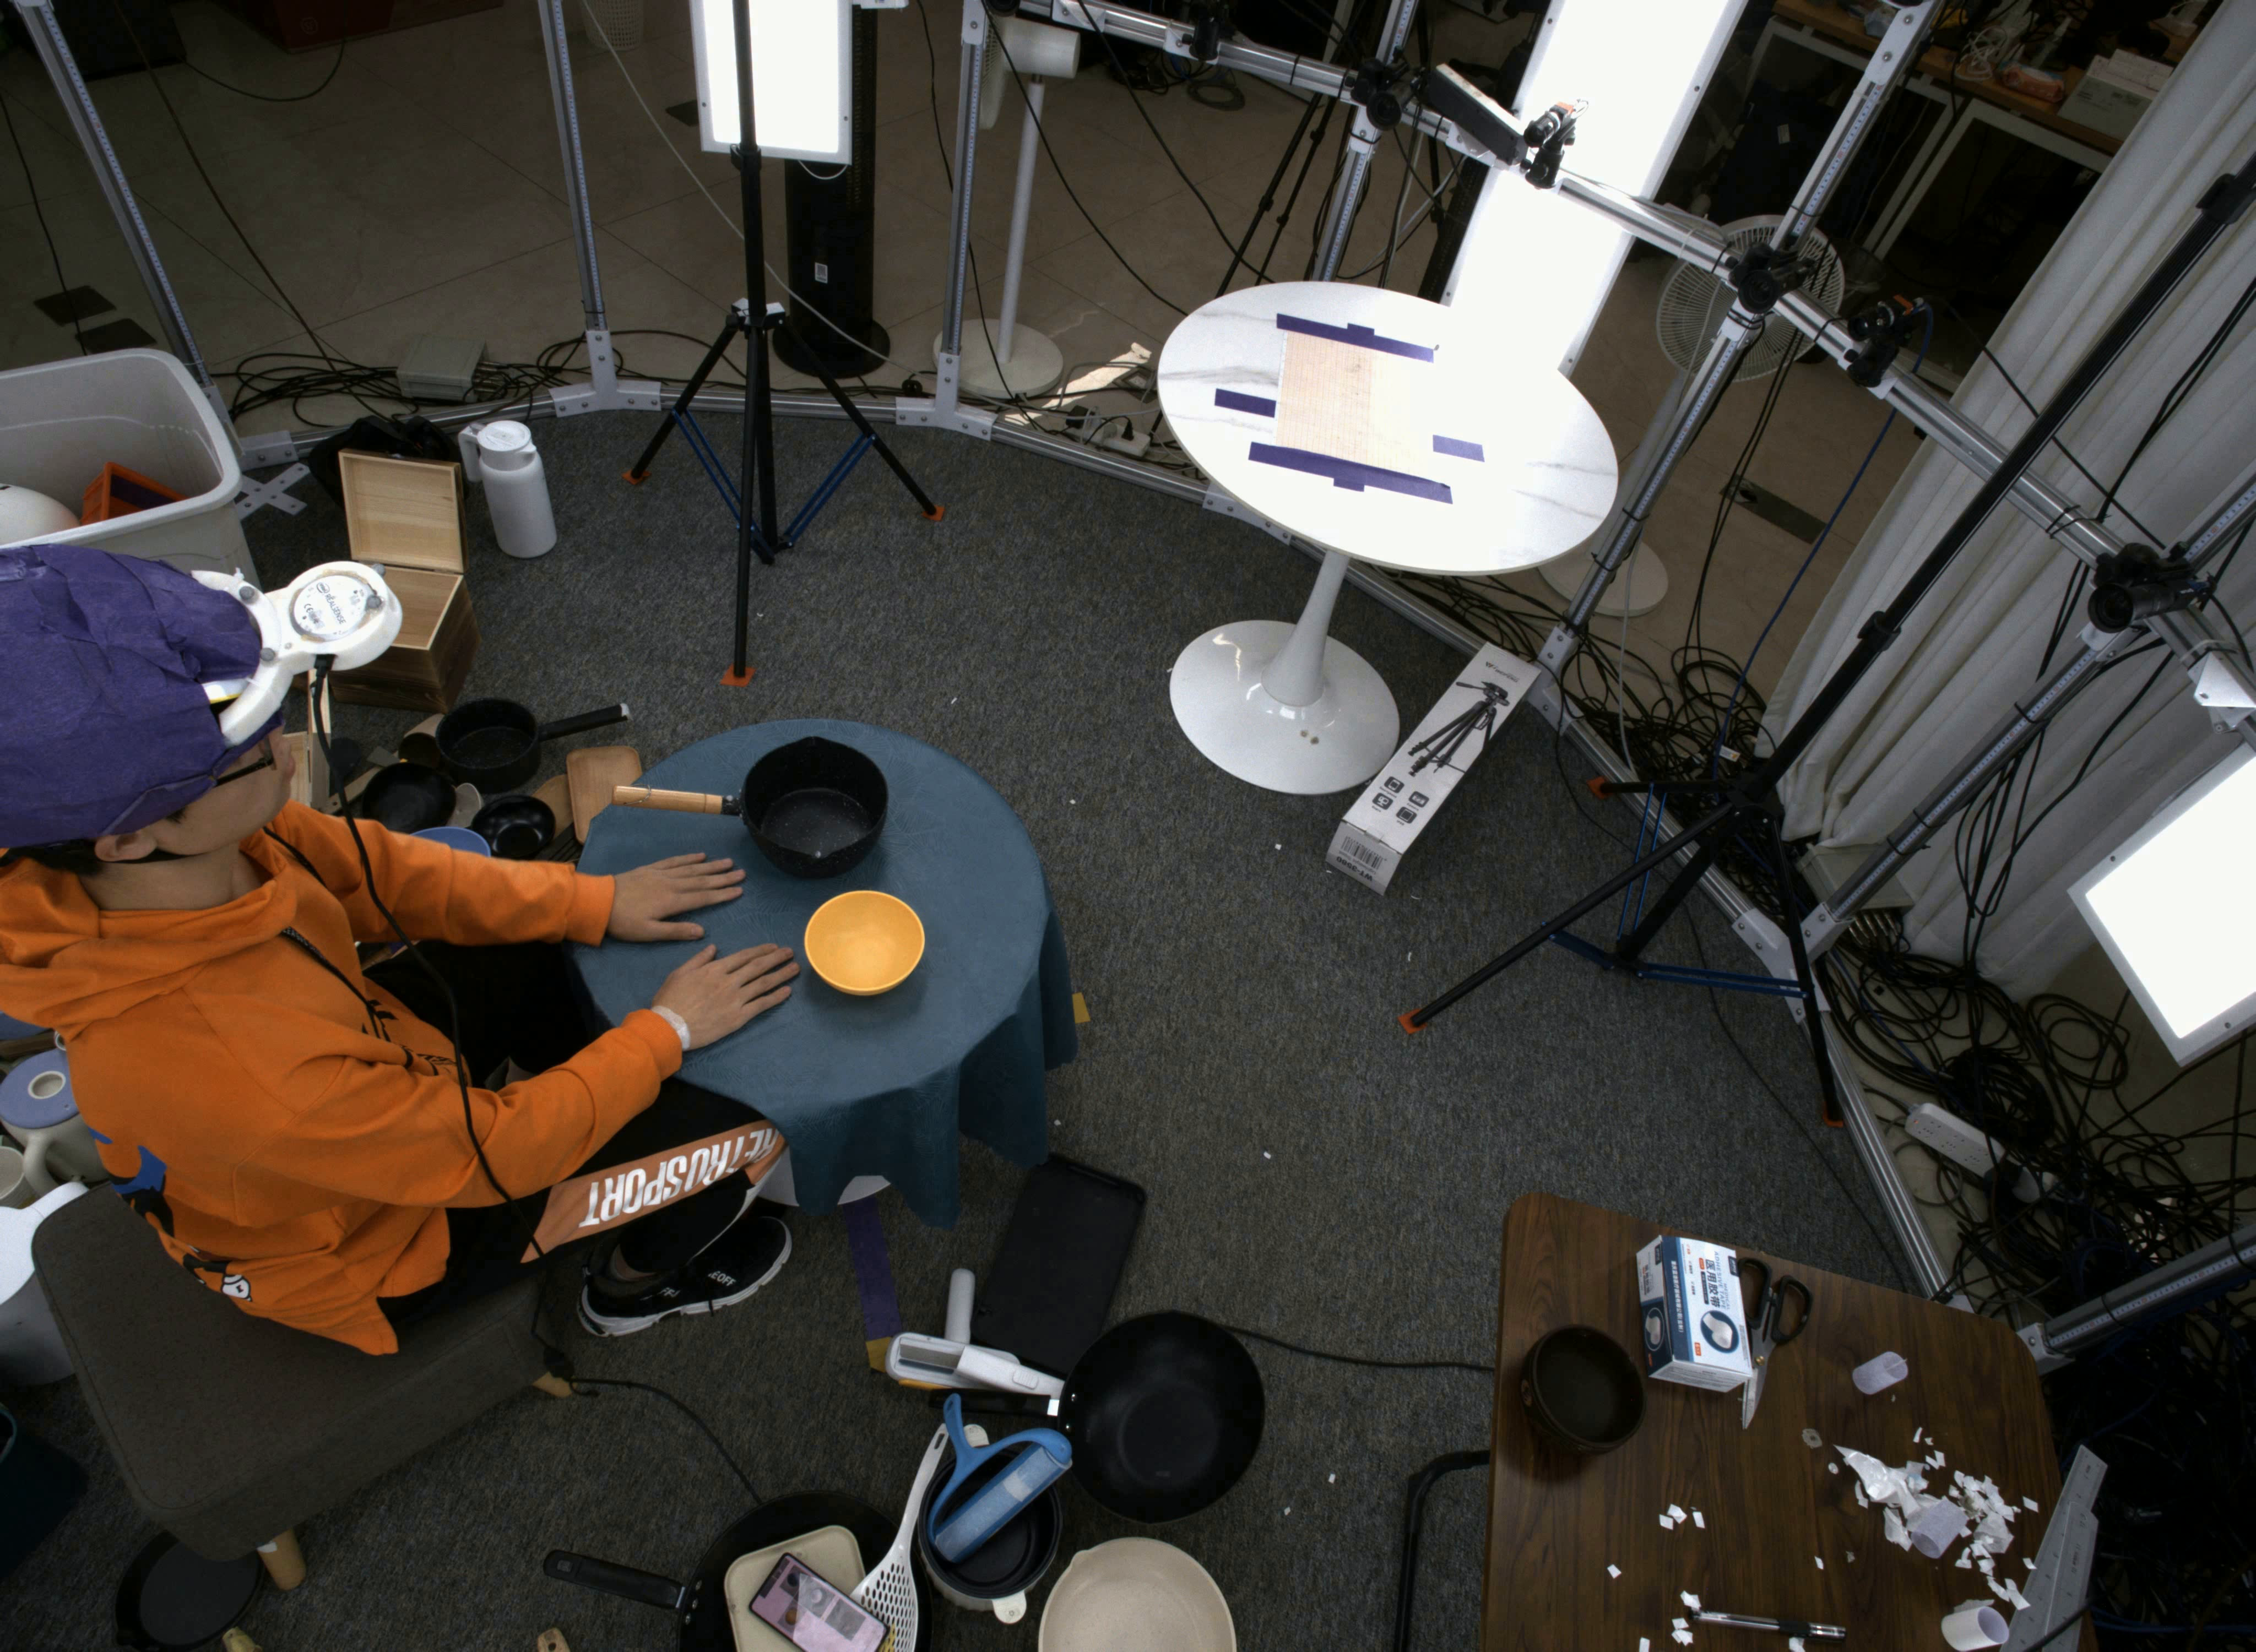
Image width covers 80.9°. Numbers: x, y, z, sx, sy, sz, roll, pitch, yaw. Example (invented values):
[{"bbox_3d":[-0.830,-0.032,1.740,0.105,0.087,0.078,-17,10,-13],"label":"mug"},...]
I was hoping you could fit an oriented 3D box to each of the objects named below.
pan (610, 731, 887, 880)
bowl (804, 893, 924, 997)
[{"bbox_3d":[-0.480,-0.020,1.644,0.344,0.110,0.203,-3,56,-19],"label":"pan"},{"bbox_3d":[-0.322,0.154,1.587,0.145,0.061,0.142,8,50,-8],"label":"bowl"}]
